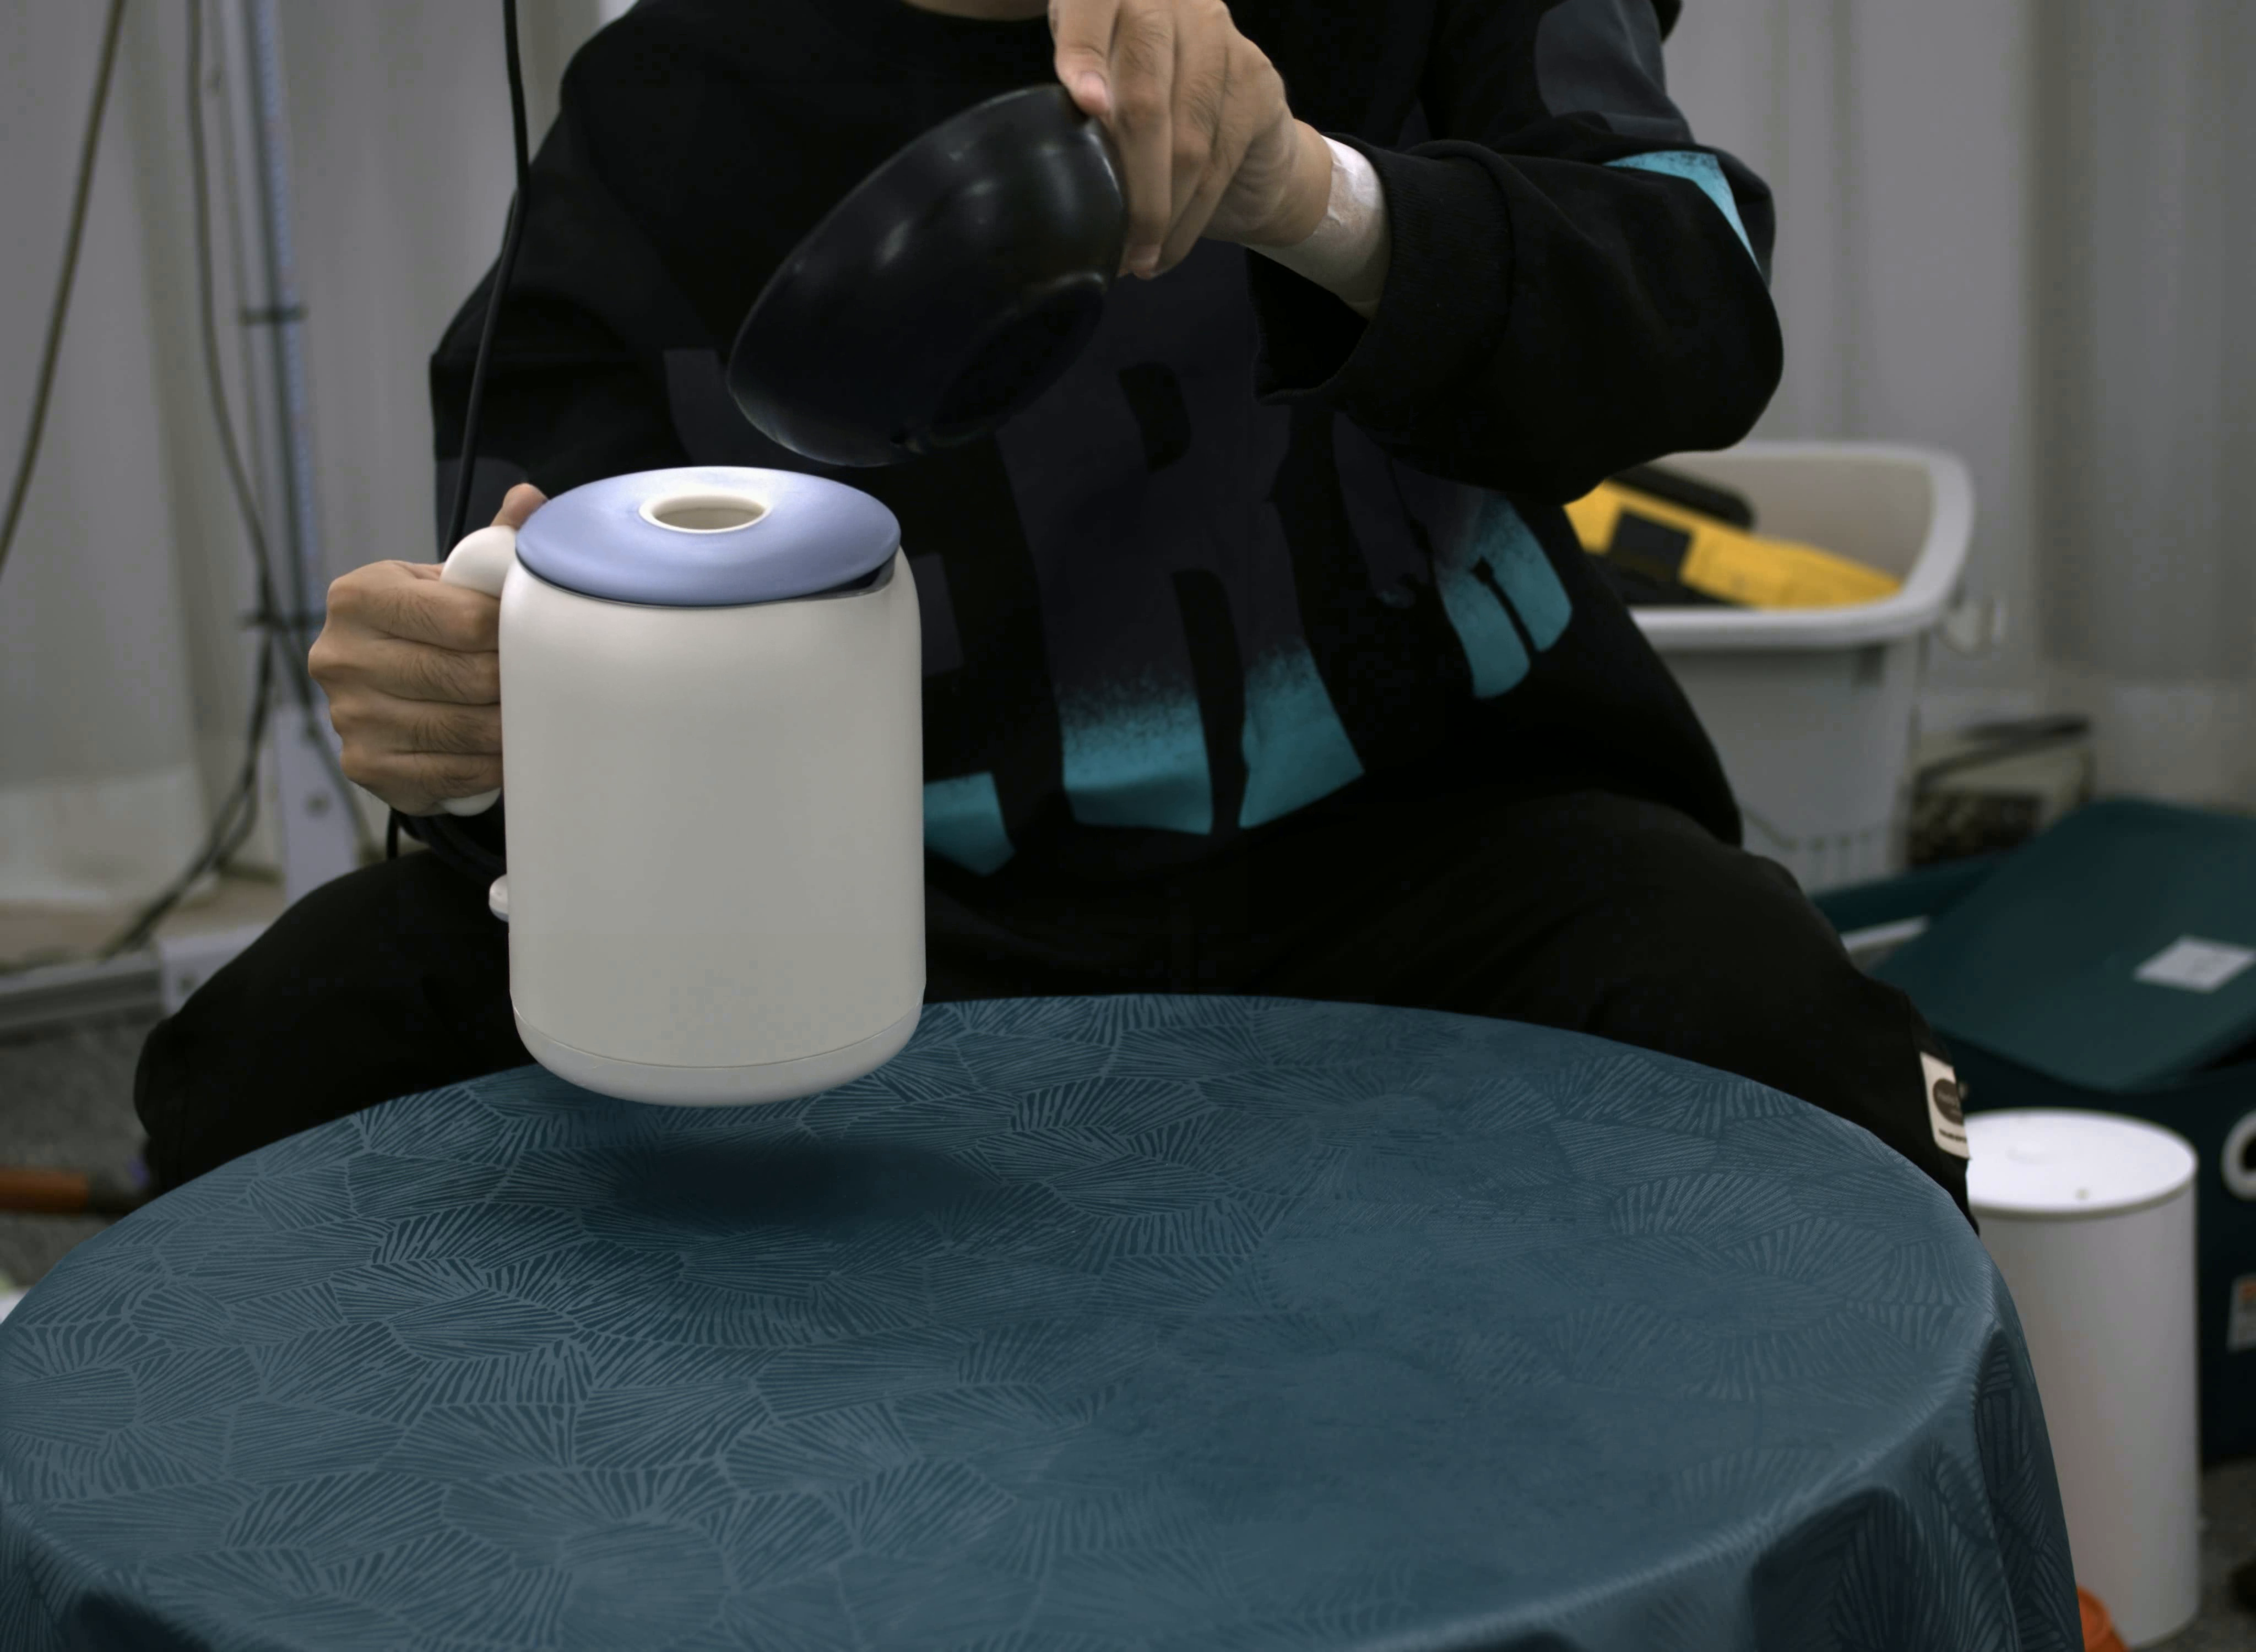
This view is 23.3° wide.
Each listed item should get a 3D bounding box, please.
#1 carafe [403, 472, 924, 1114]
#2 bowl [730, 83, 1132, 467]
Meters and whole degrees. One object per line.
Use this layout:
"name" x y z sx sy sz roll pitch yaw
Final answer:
"carafe" -0.151 -0.015 1.717 0.192 0.181 0.132 9 19 33
"bowl" -0.048 -0.151 1.606 0.050 0.139 0.140 49 37 16
